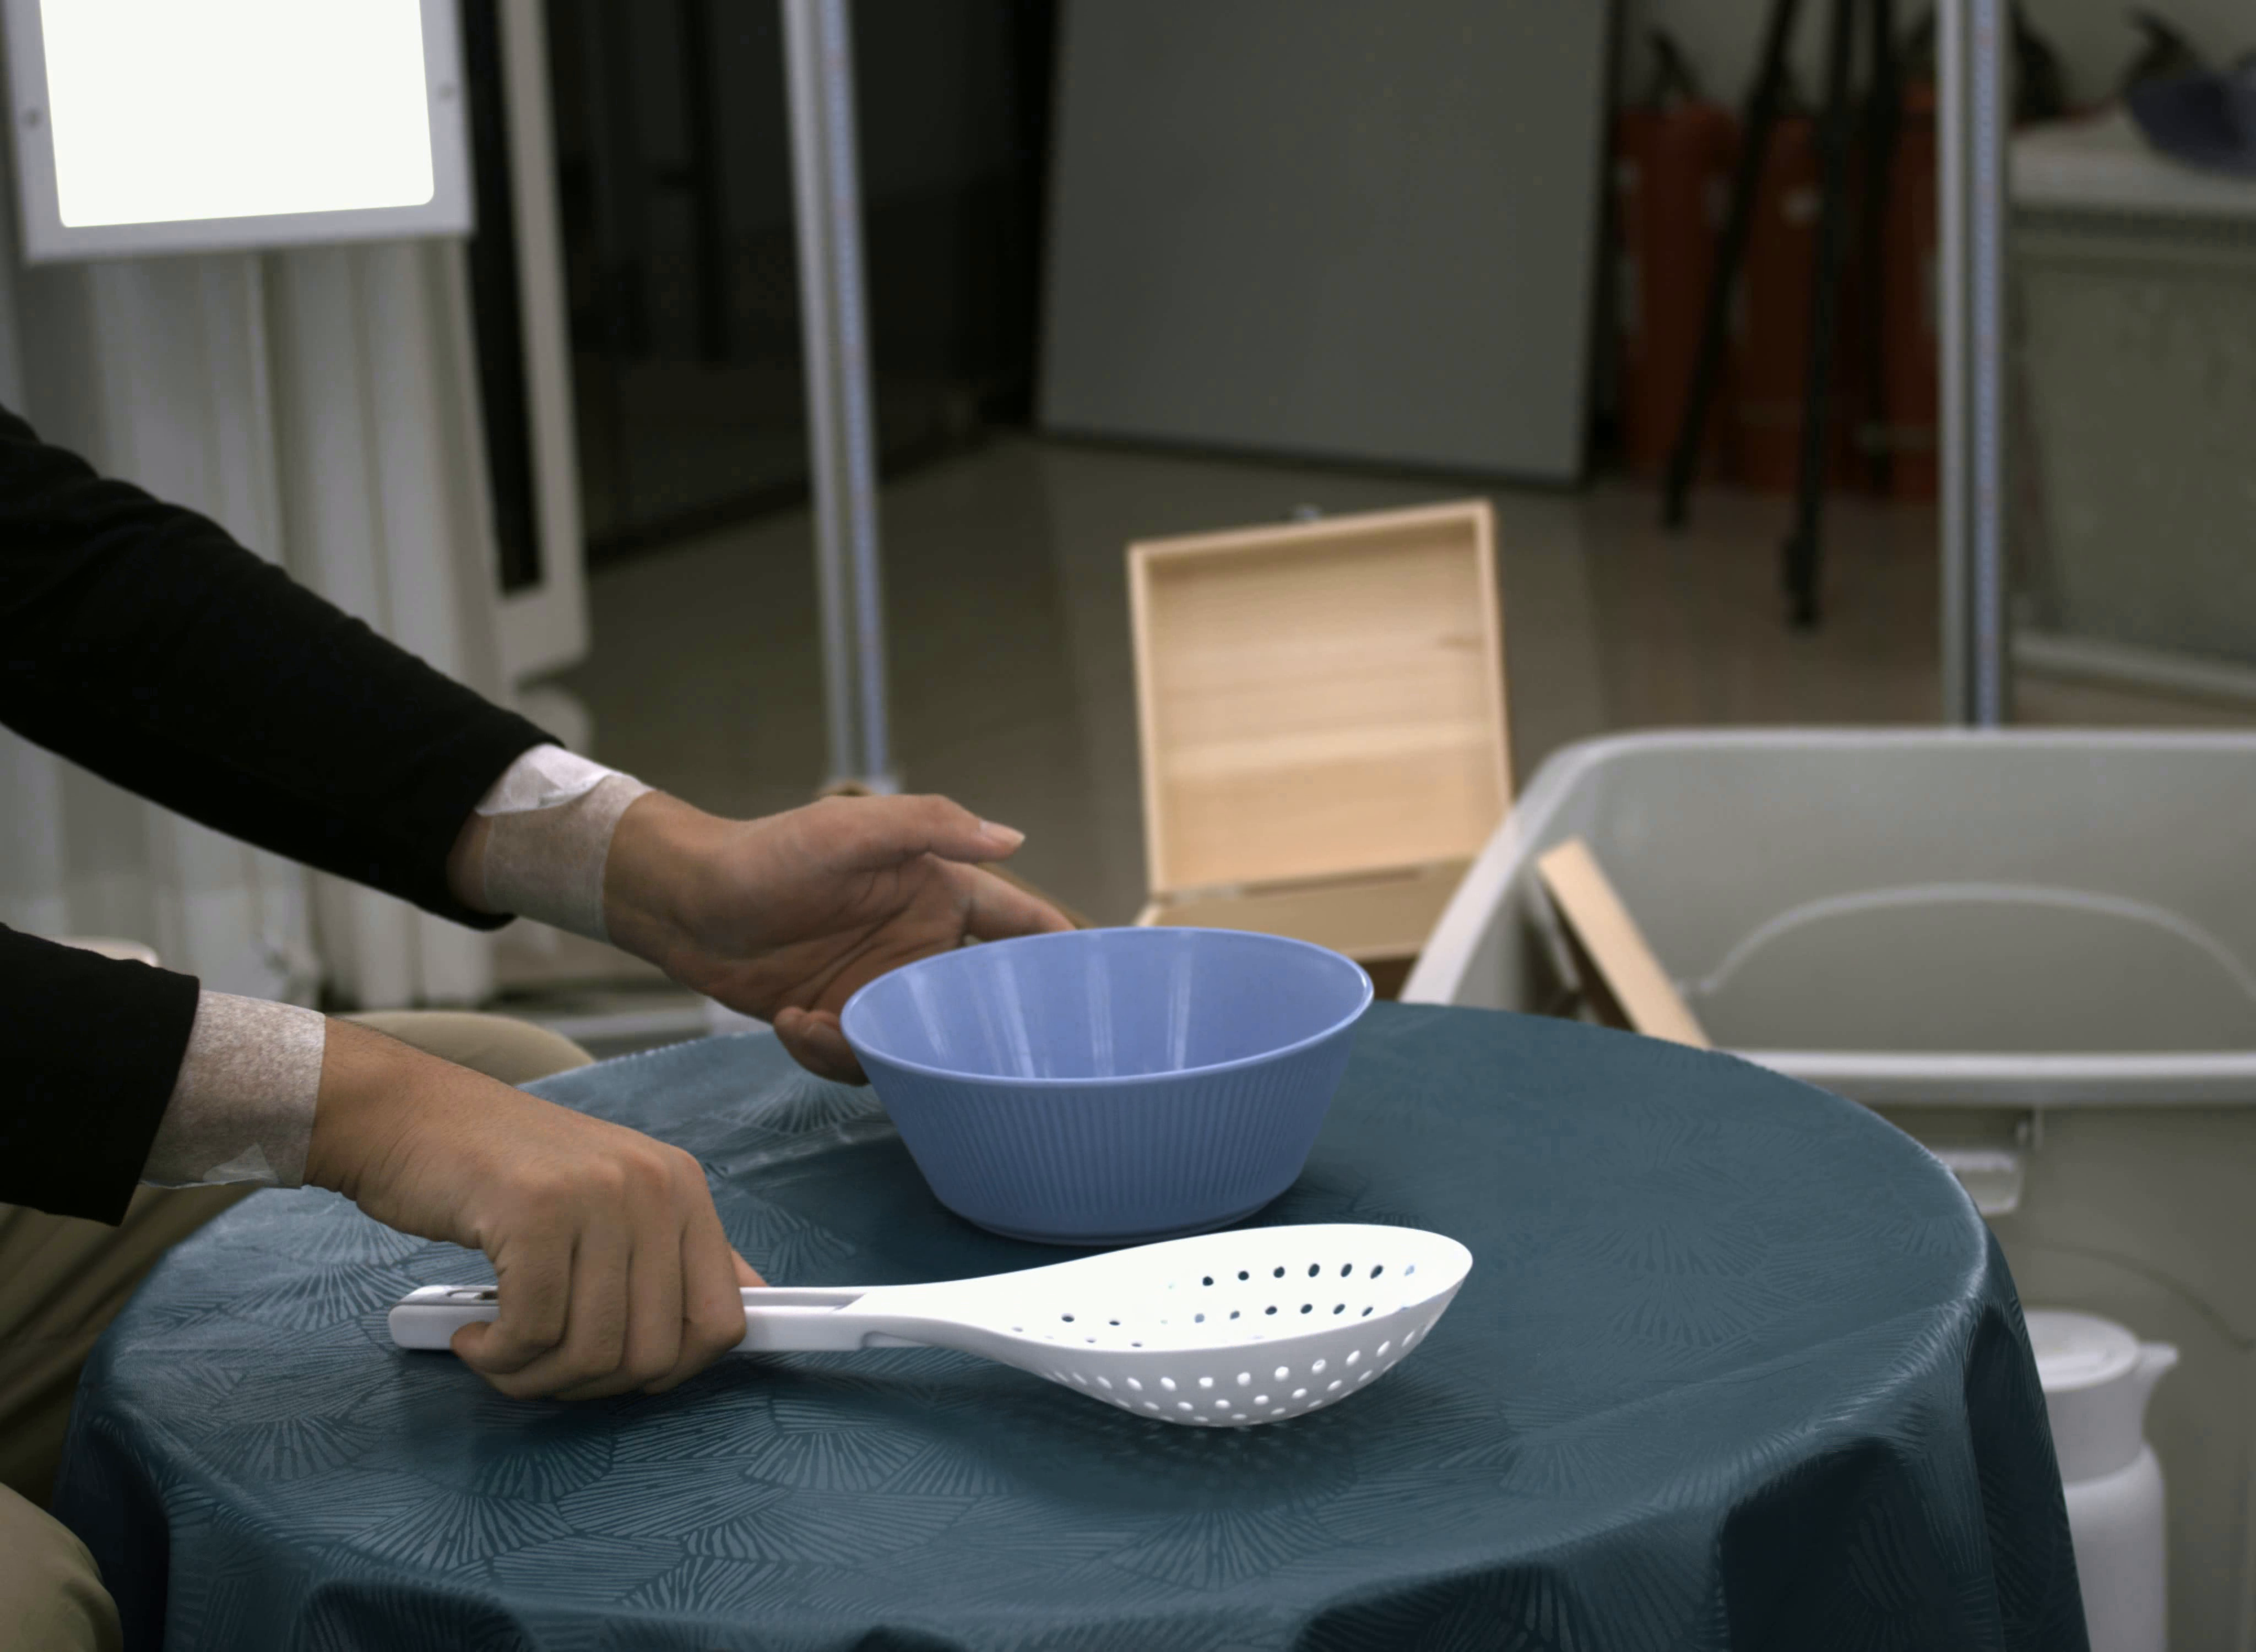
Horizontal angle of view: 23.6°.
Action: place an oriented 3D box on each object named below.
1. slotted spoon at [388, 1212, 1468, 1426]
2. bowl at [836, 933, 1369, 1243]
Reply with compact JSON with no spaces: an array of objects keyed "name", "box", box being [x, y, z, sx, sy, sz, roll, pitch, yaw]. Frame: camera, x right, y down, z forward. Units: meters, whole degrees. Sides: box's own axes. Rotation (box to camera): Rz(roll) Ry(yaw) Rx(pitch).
[{"name":"slotted spoon","box":[-0.065,0.145,1.595,0.350,0.046,0.134,1,13,24]},{"name":"bowl","box":[-0.006,0.087,1.760,0.174,0.071,0.176,-5,13,0]}]
